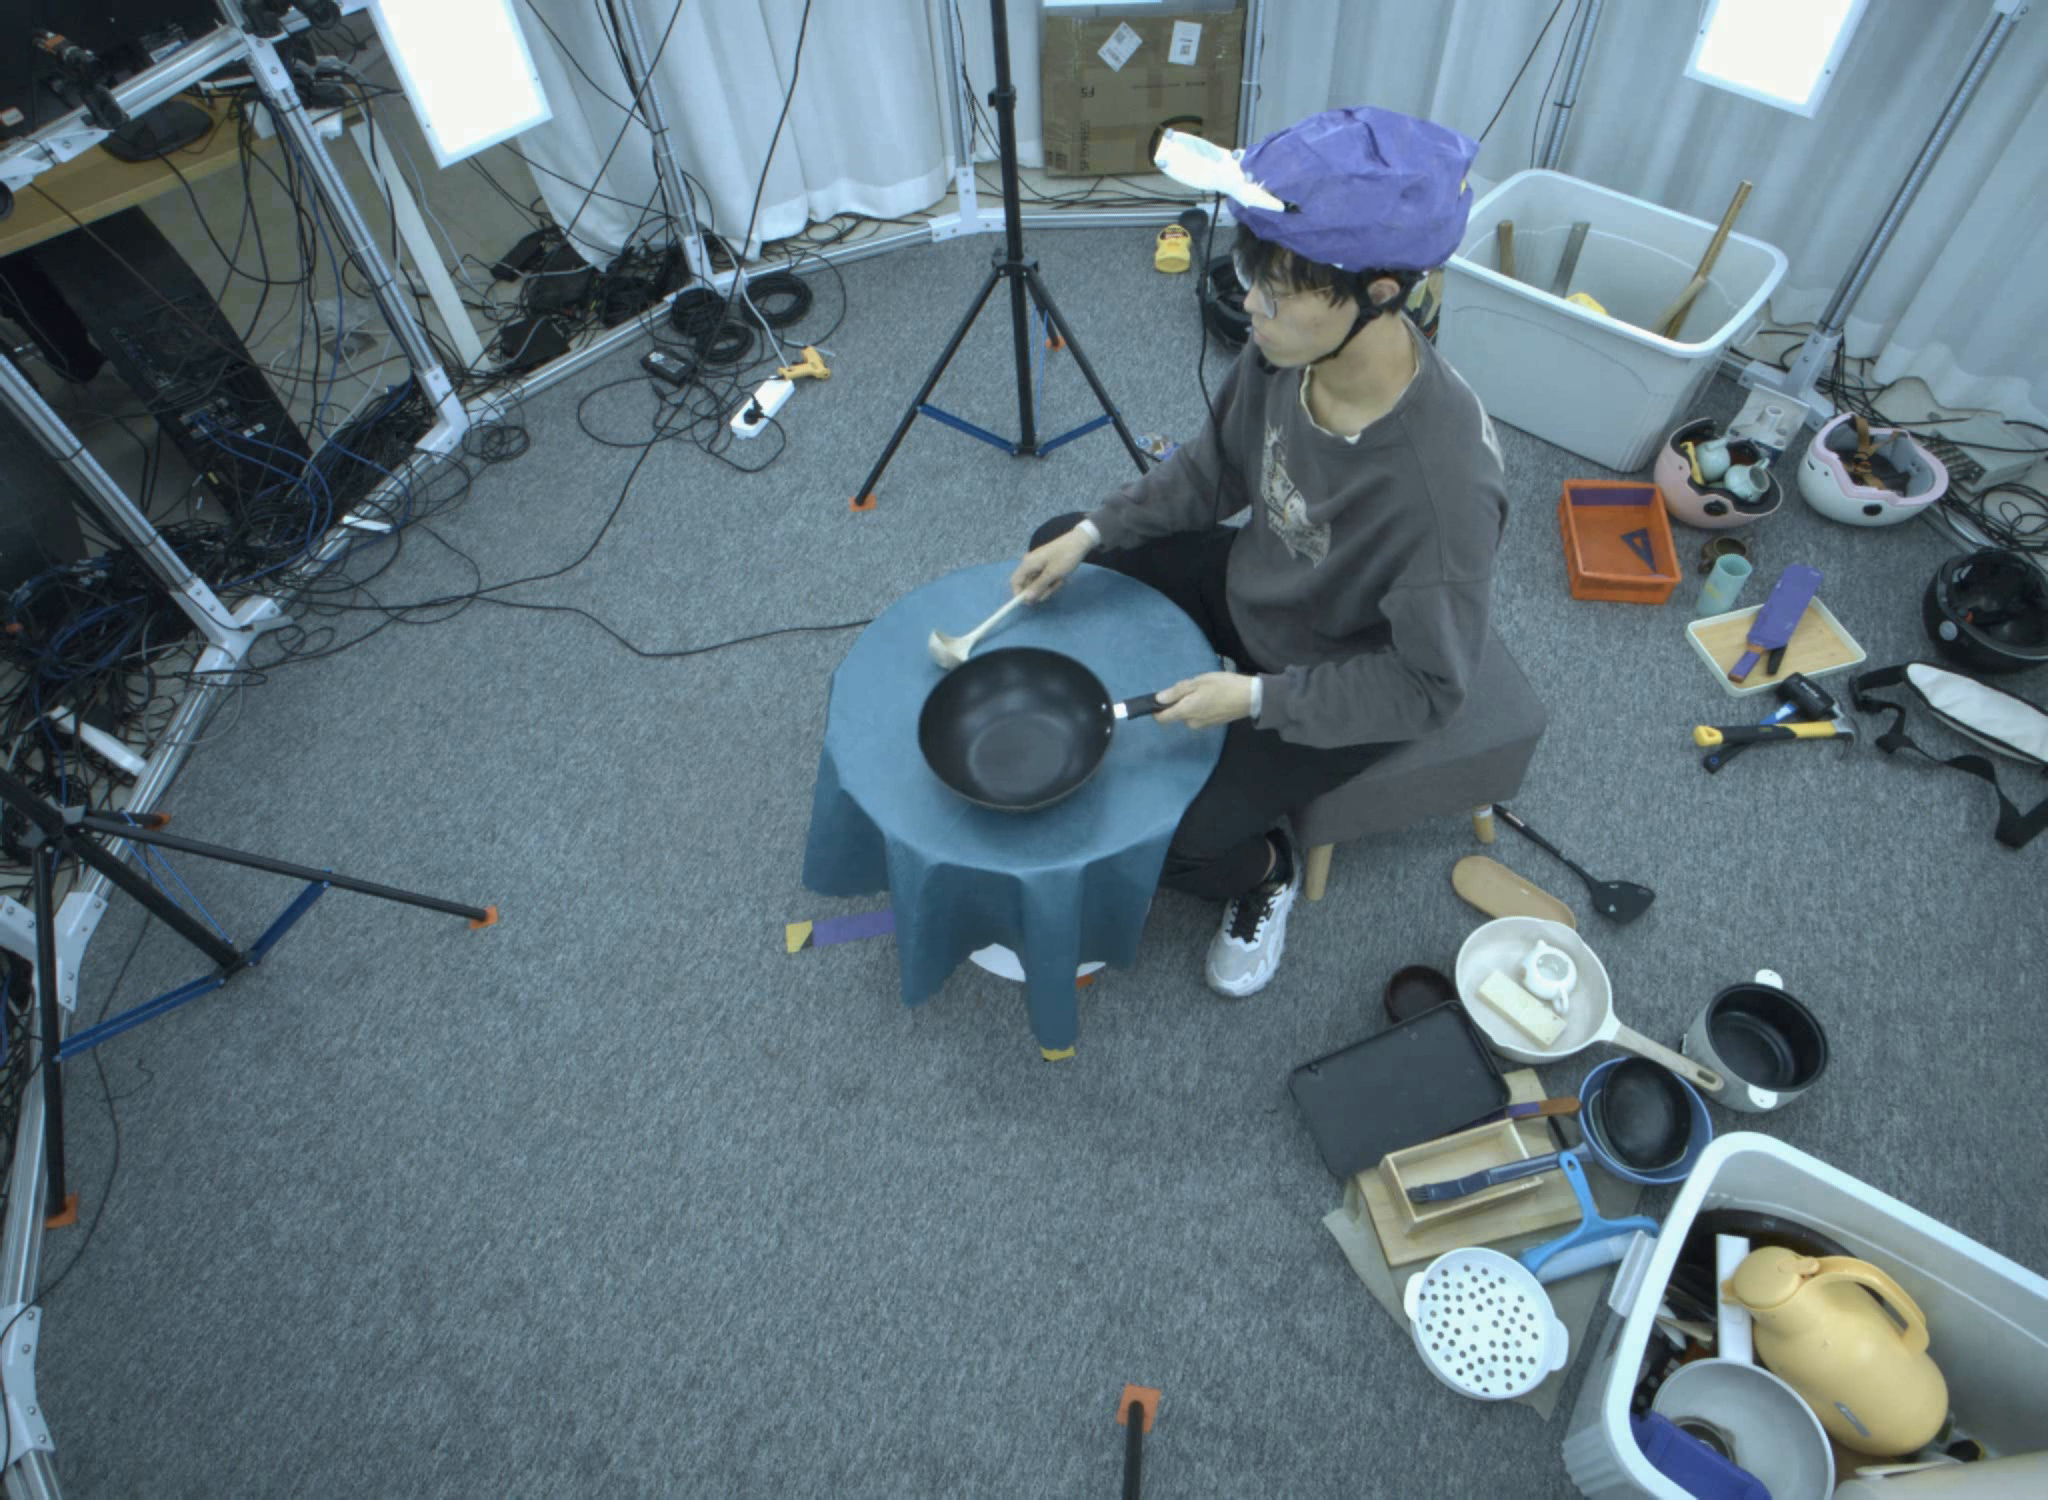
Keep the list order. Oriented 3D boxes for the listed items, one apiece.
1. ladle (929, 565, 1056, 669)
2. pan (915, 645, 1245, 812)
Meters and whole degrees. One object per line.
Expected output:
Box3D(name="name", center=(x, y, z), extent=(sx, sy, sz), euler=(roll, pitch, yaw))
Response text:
Box3D(name="ladle", center=(-0.041, -0.220, 1.882), extent=(0.071, 0.073, 0.255), euler=(44, 75, 12))
Box3D(name="pan", center=(0.080, -0.031, 1.749), extent=(0.464, 0.088, 0.284), euler=(-8, 54, -3))
